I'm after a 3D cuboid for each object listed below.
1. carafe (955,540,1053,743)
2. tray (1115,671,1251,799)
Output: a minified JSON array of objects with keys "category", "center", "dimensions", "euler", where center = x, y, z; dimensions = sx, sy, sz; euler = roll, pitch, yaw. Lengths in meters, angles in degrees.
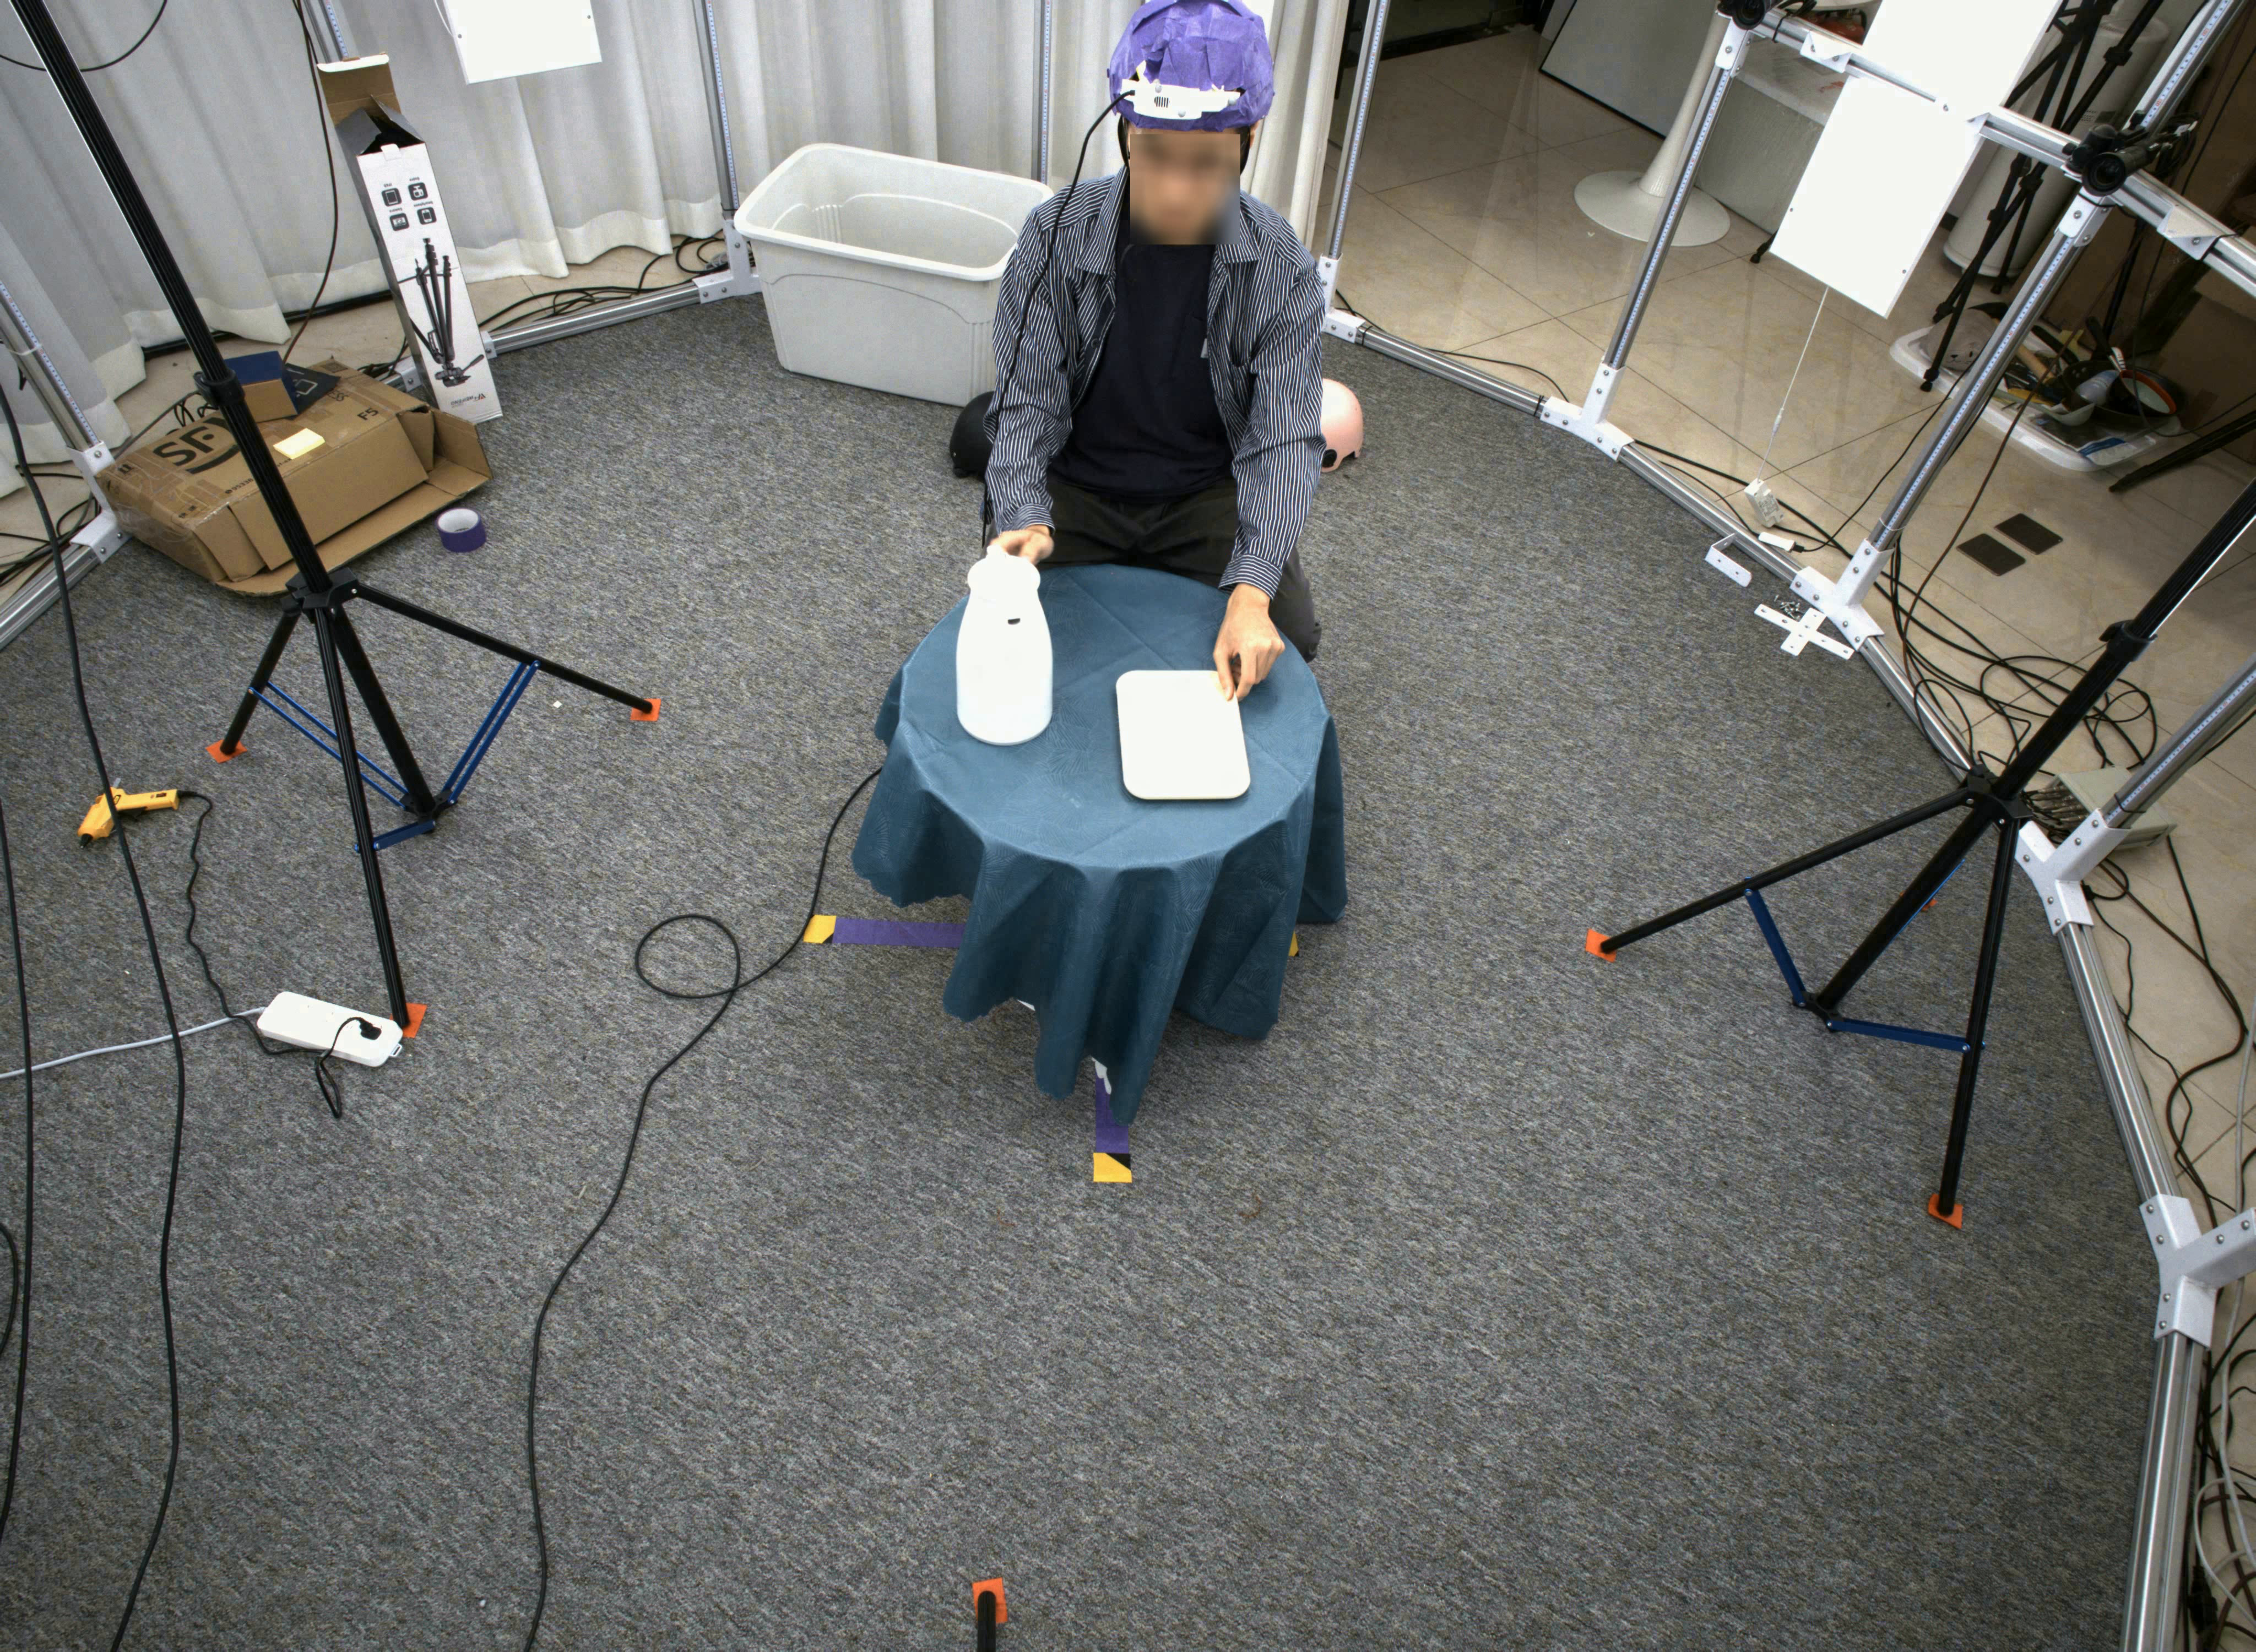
[{"category":"carafe","center":[-0.170,-0.255,1.703],"dimensions":[0.132,0.242,0.172],"euler":[-14,50,-16]},{"category":"tray","center":[0.072,-0.127,1.764],"dimensions":[0.171,0.017,0.246],"euler":[0,48,-6]}]
